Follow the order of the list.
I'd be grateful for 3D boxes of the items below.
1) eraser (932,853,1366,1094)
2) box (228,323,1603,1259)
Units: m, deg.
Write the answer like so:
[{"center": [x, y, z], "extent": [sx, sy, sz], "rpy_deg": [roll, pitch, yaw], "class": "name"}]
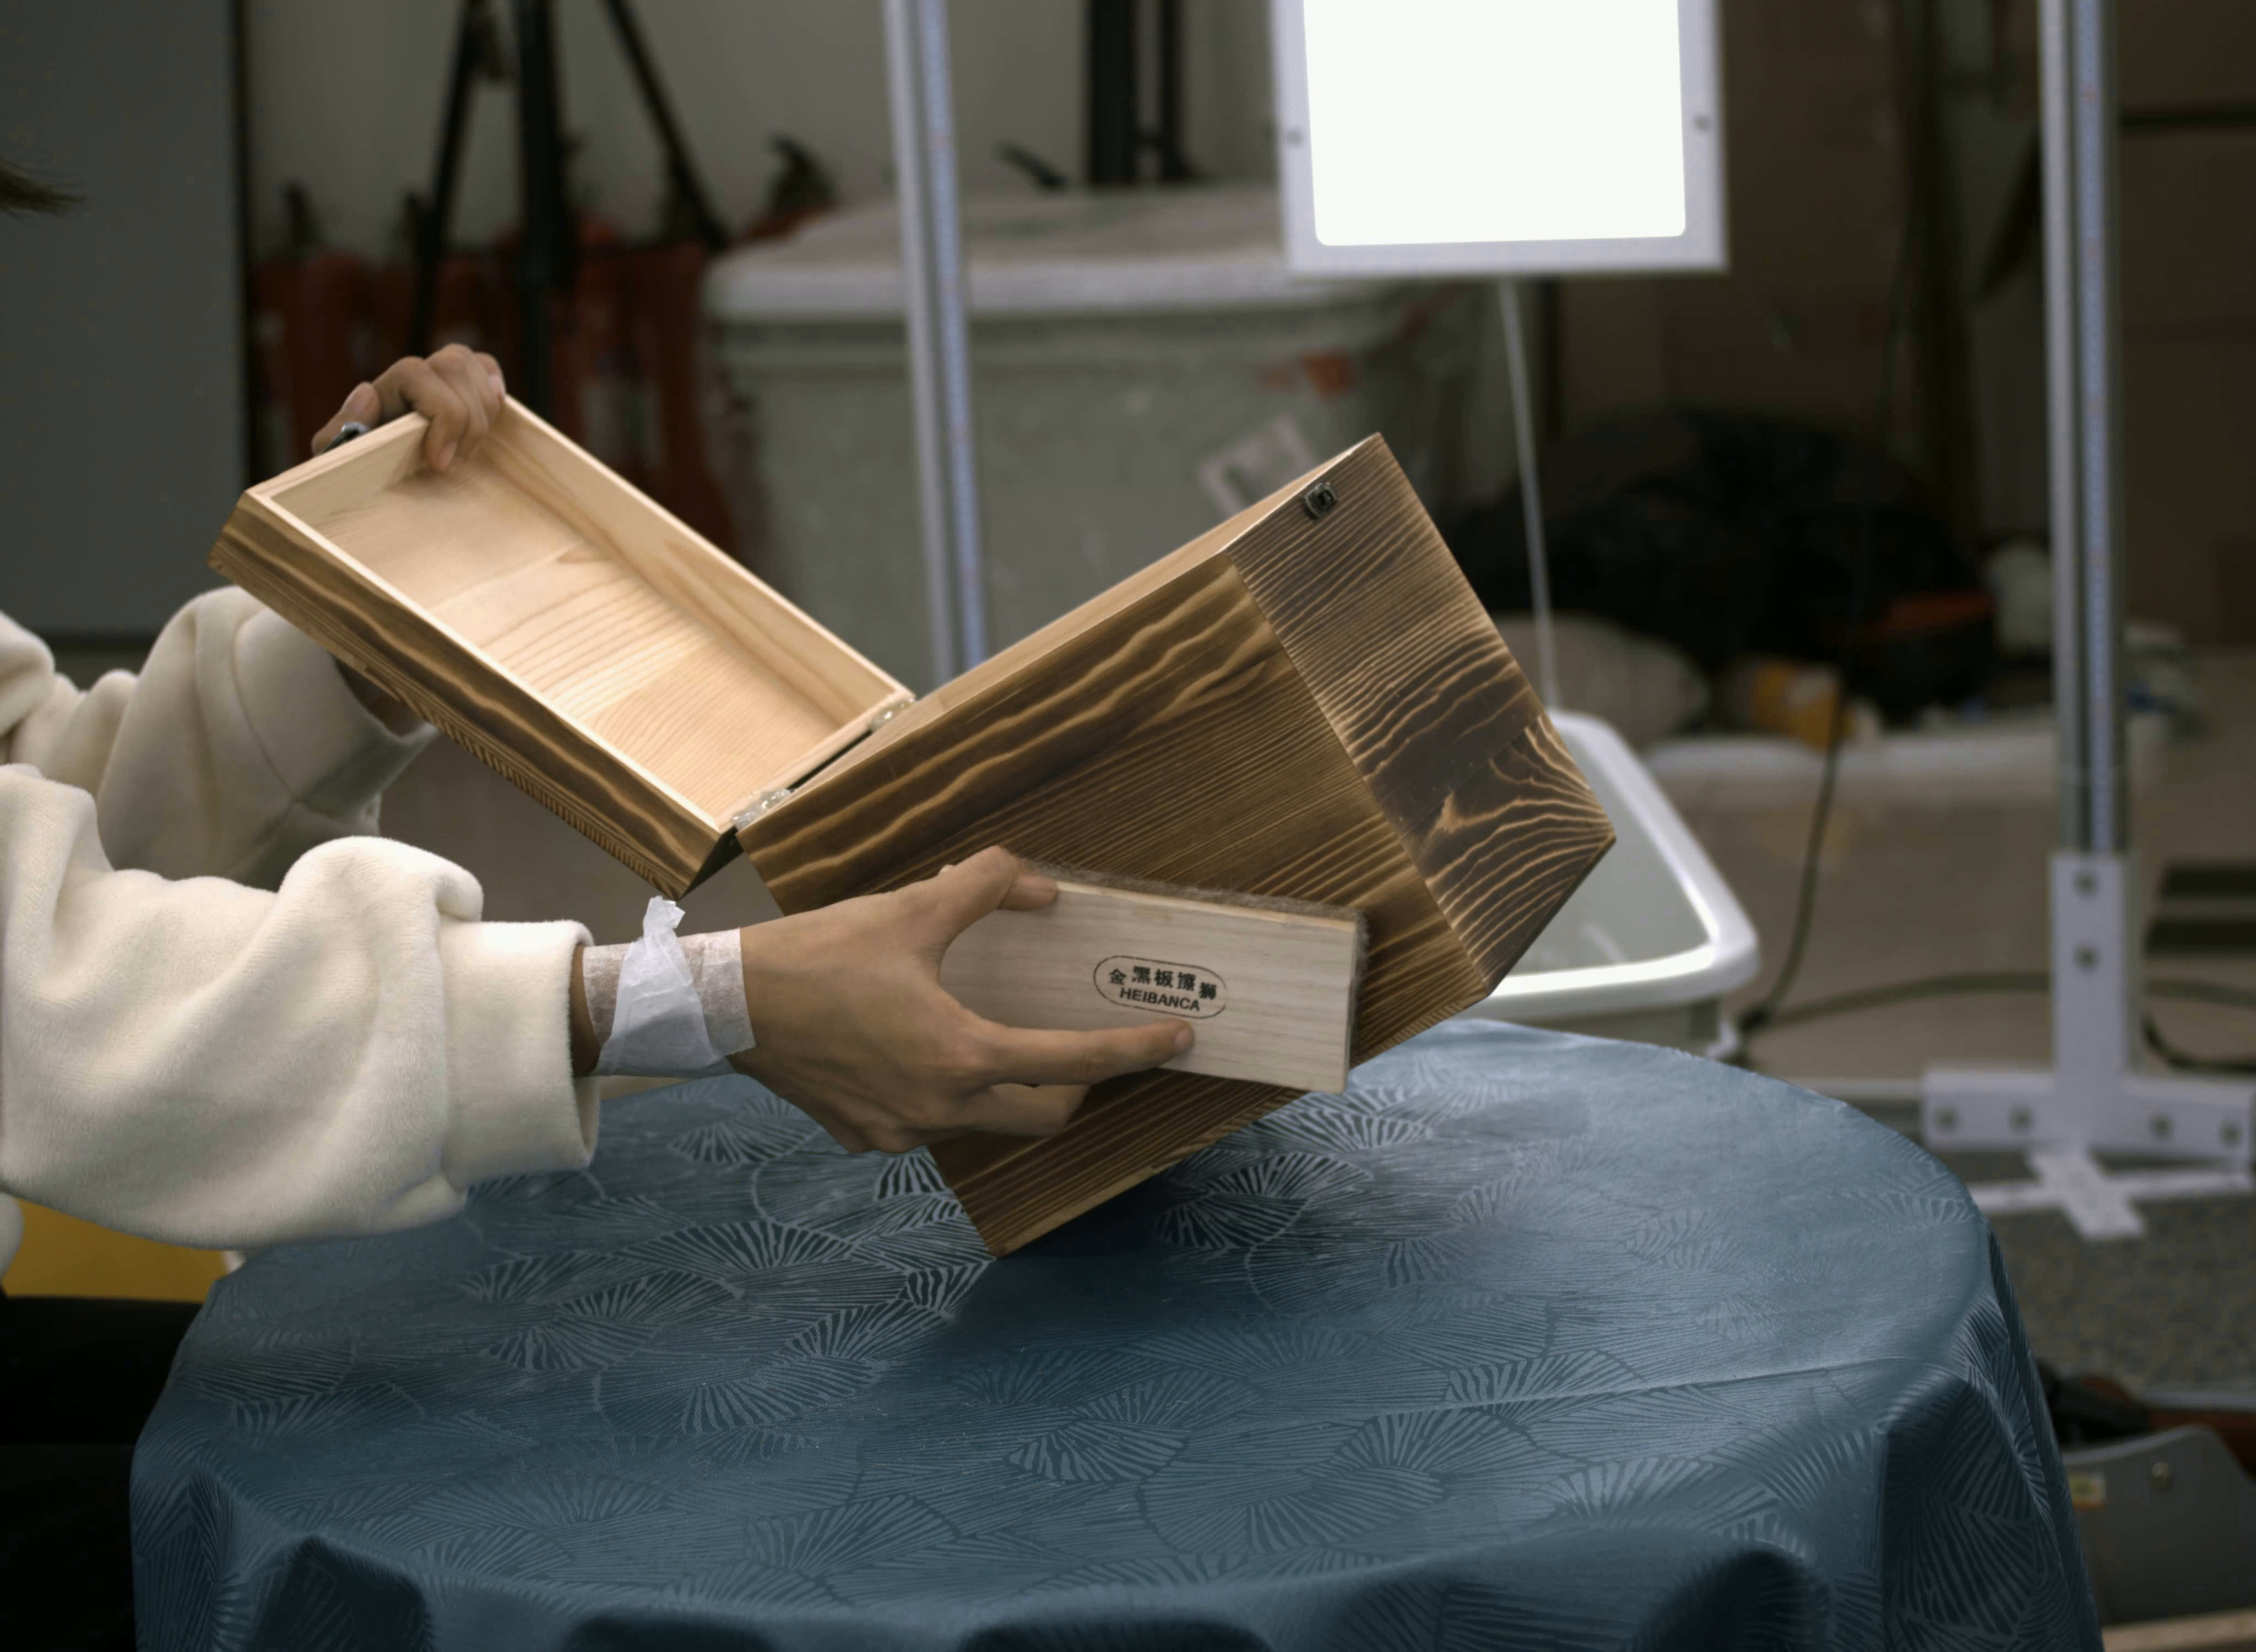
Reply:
[{"center": [0.007, 0.046, 1.779], "extent": [0.141, 0.057, 0.028], "rpy_deg": [9, 19, 18], "class": "eraser"}, {"center": [-0.070, -0.057, 1.898], "extent": [0.327, 0.375, 0.205], "rpy_deg": [-29, 5, 23], "class": "box"}]
